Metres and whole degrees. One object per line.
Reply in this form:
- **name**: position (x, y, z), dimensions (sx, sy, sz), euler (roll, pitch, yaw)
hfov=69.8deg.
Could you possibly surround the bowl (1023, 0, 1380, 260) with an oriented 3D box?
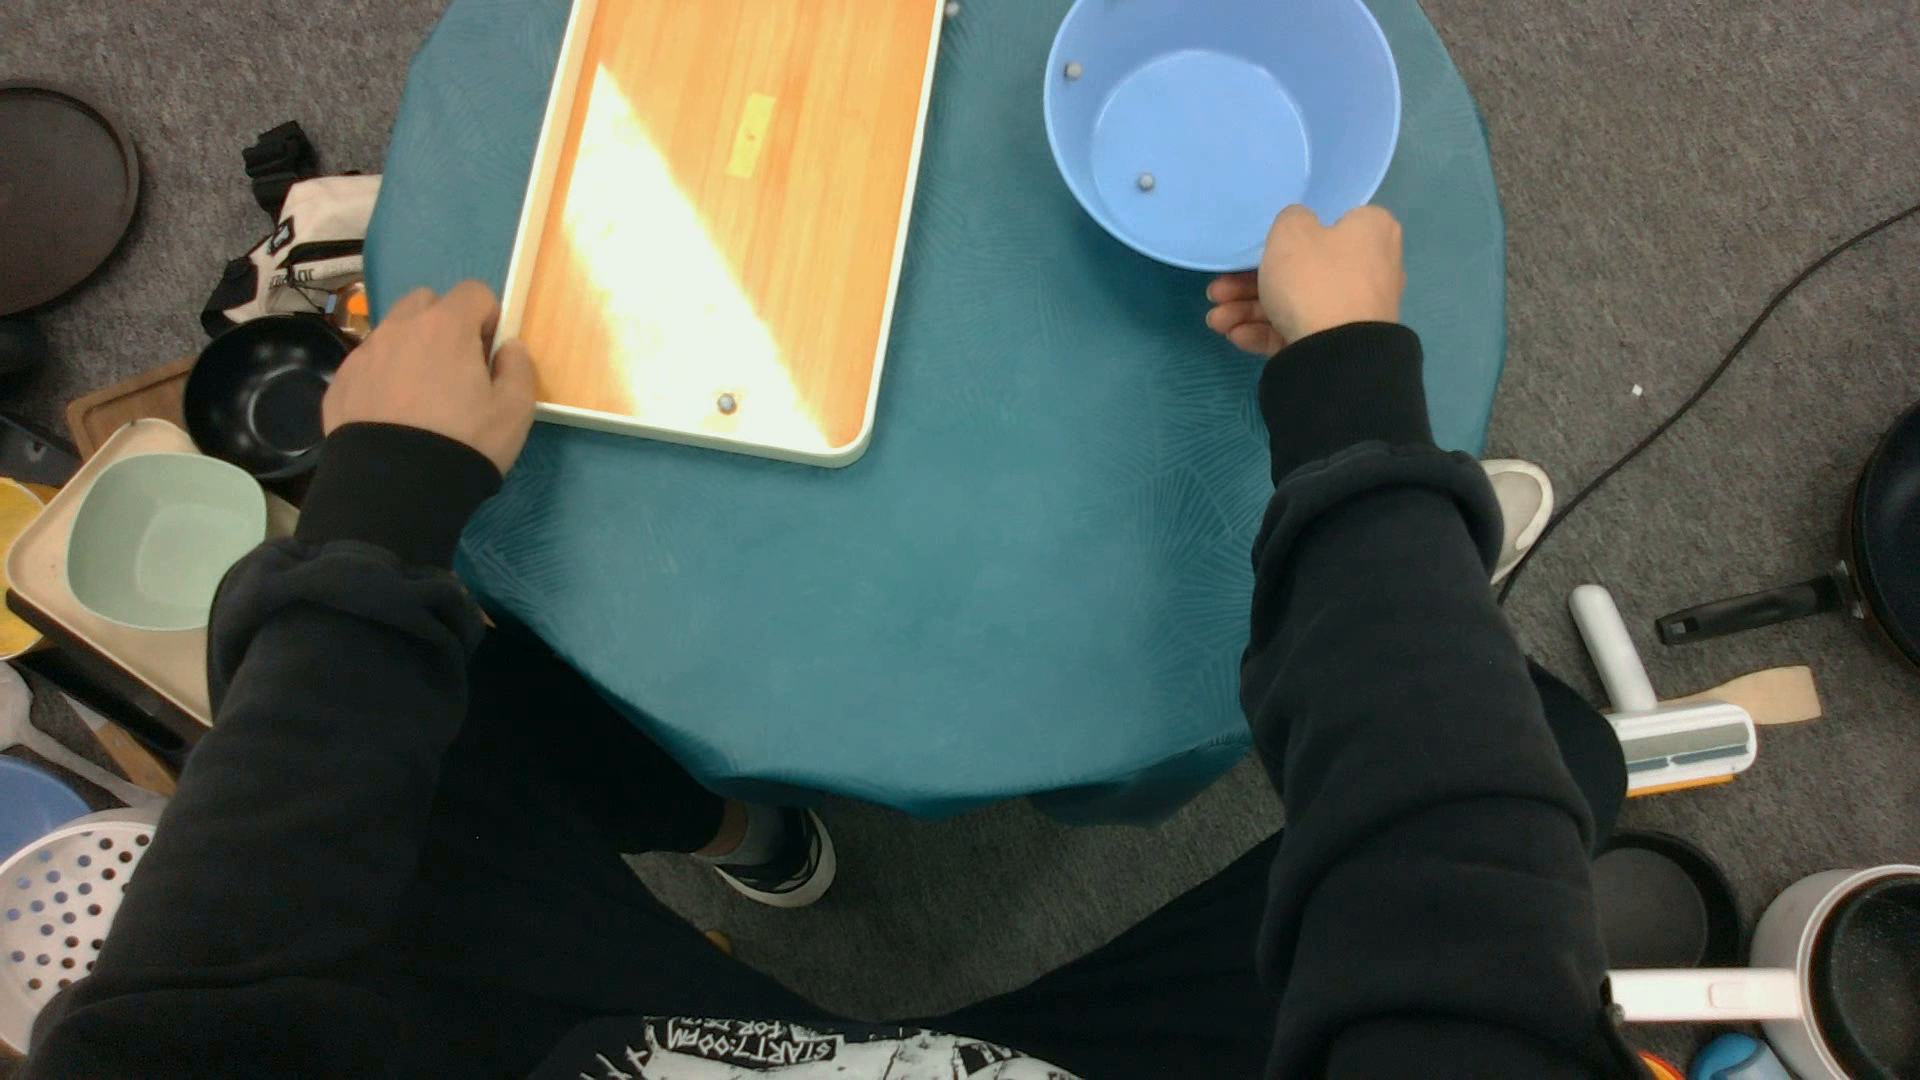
- **bowl**: position (0.120, -0.217, 0.710), dimensions (0.176, 0.070, 0.176), euler (0, 81, 1)

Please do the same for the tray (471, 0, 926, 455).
- **tray**: position (-0.128, -0.200, 0.718), dimensions (0.191, 0.027, 0.301), euler (9, 76, -1)
